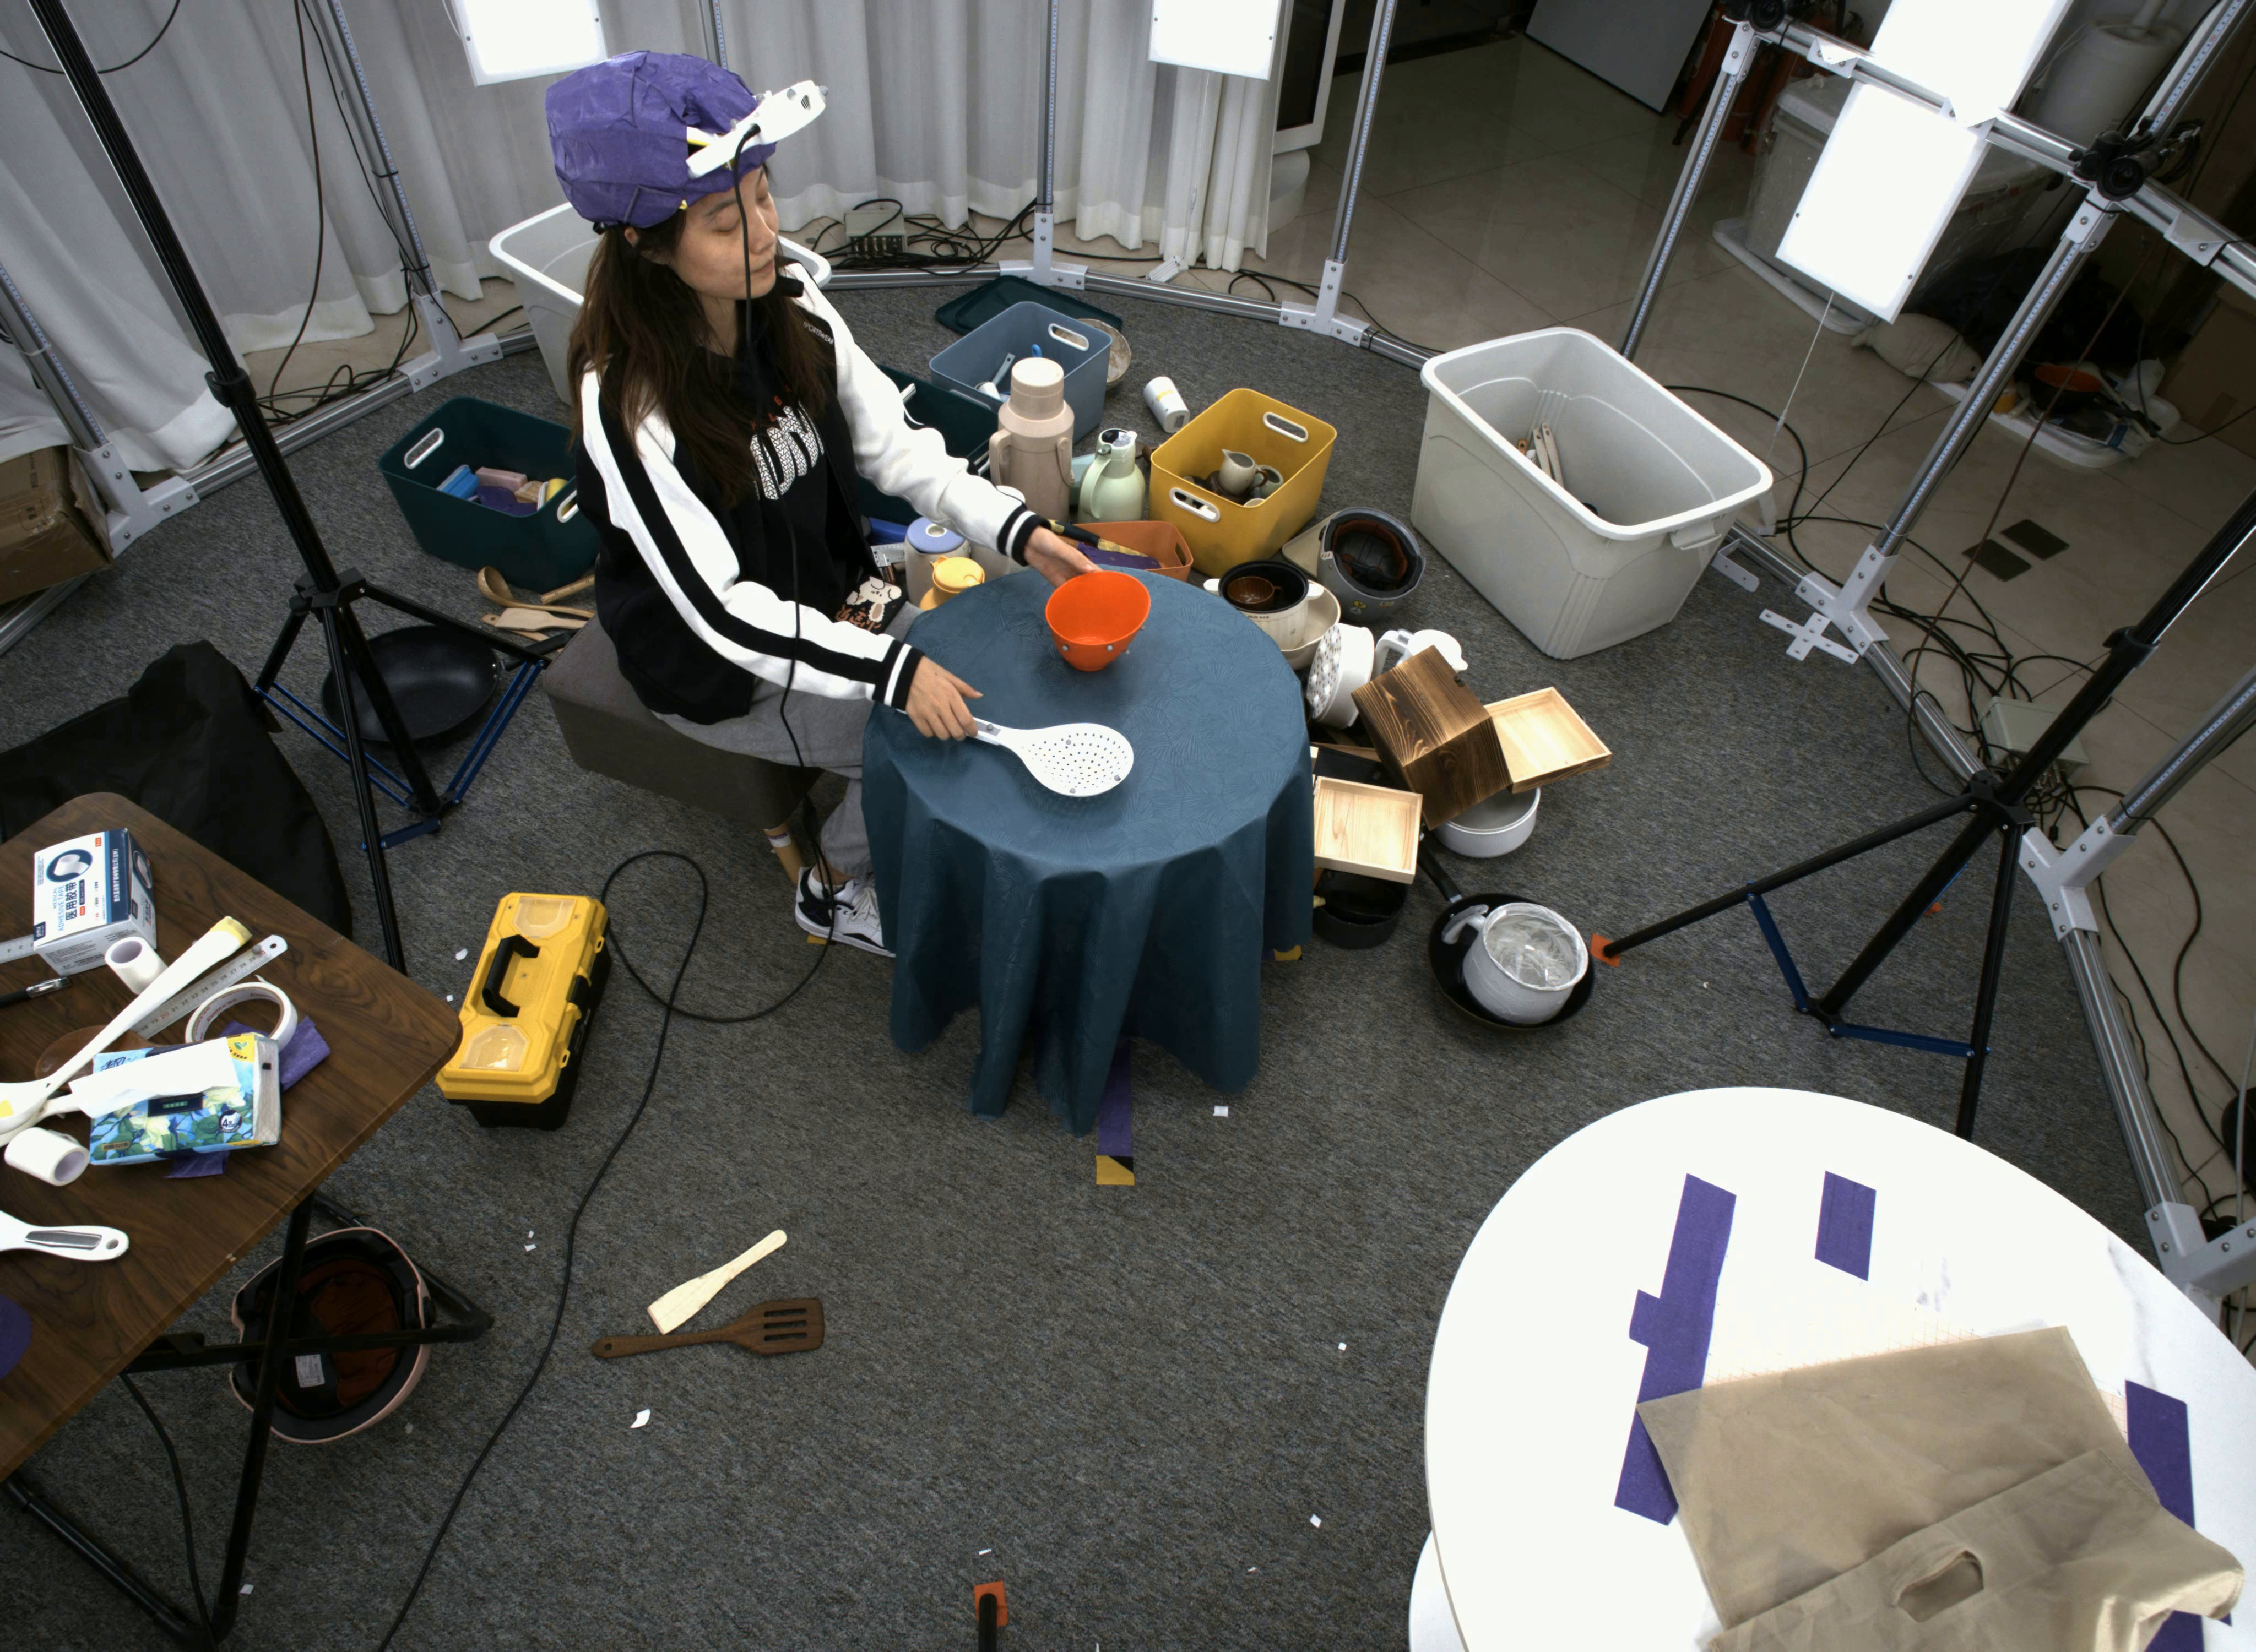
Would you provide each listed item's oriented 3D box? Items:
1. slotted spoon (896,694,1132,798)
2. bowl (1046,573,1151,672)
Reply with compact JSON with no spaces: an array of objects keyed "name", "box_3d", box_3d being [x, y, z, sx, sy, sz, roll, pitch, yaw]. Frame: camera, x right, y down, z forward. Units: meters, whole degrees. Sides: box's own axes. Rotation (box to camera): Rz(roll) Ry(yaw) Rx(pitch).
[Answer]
[{"name":"slotted spoon","box_3d":[-0.159,-0.117,1.732,0.352,0.044,0.138,22,50,16]},{"name":"bowl","box_3d":[-0.044,-0.282,1.847,0.148,0.102,0.152,1,51,-2]}]
